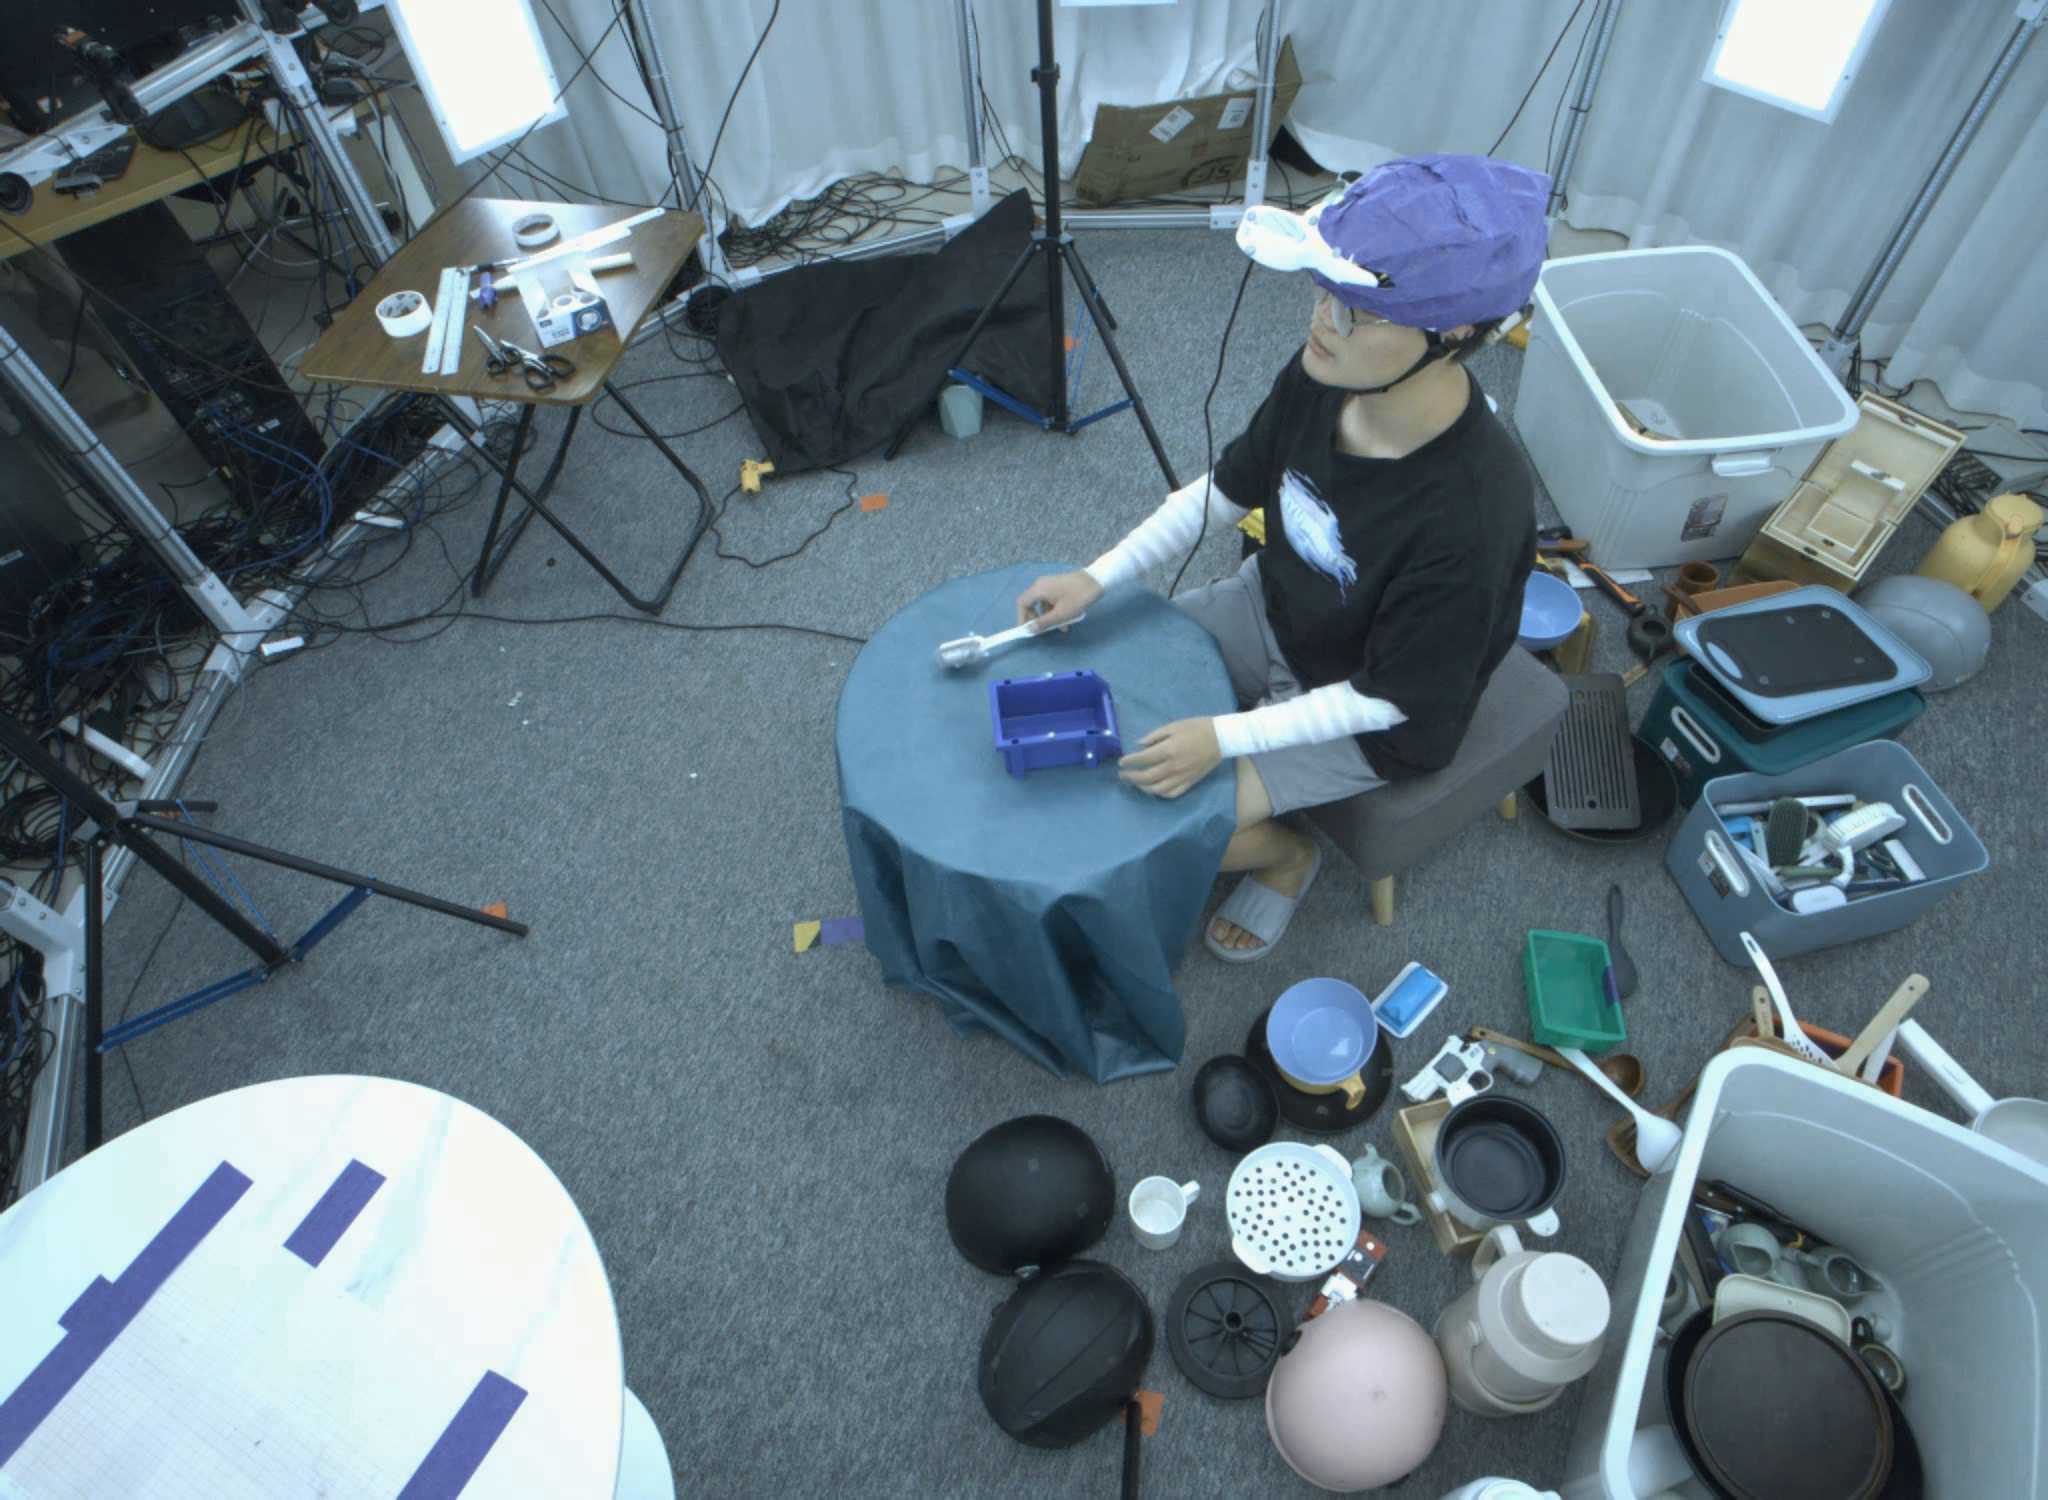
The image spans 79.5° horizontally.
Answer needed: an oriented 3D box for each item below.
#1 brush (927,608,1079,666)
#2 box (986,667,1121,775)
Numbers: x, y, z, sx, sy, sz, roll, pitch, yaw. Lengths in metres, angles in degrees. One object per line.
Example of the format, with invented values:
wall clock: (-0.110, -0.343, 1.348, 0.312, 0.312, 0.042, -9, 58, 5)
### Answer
brush: (-0.029, -0.175, 1.868, 0.245, 0.034, 0.049, -16, 13, -8)
box: (0.042, -0.044, 1.759, 0.179, 0.083, 0.123, -7, 54, -1)
